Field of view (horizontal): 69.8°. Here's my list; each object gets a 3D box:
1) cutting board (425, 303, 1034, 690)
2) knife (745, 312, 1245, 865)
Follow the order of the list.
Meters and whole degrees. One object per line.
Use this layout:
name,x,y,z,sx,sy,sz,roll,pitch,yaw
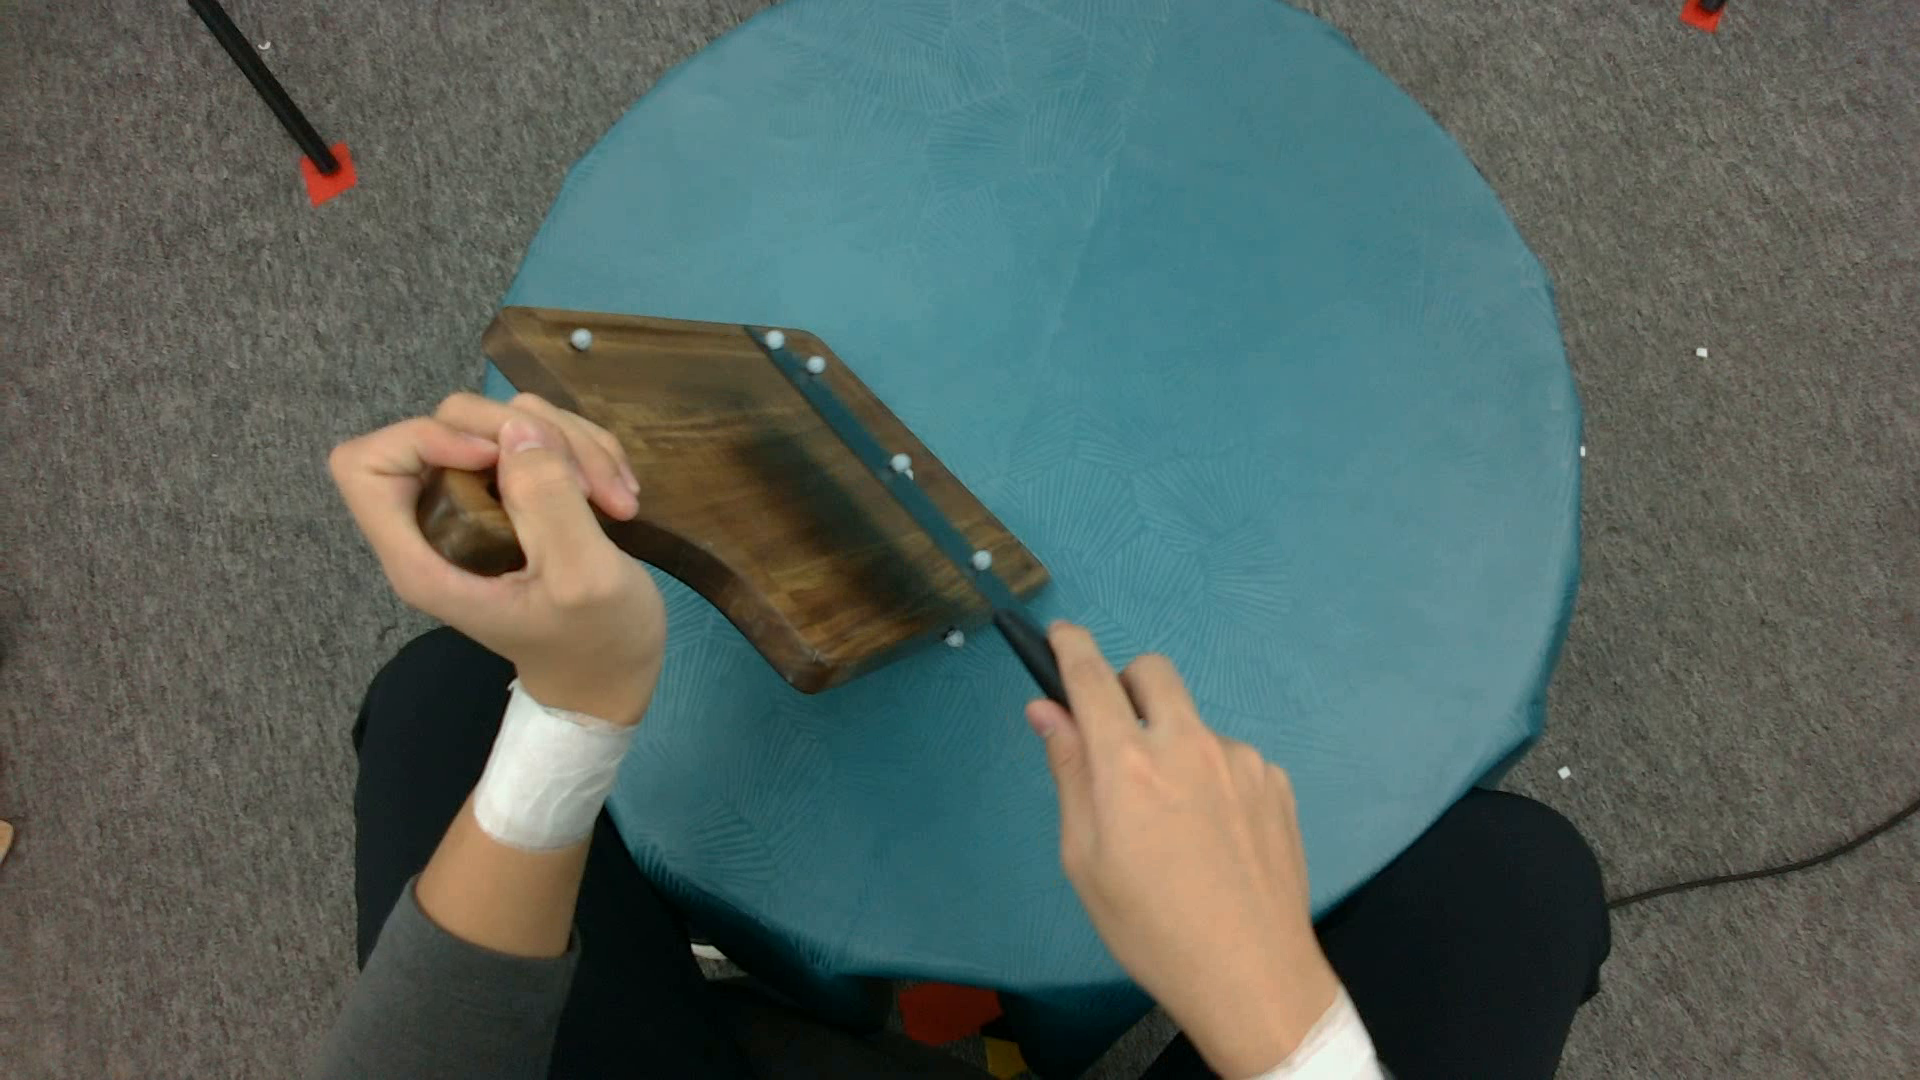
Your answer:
cutting board,-0.093,-0.027,0.582,0.201,0.353,0.023,45,110,11
knife,0.009,0.012,0.571,0.021,0.081,0.302,-44,69,8
